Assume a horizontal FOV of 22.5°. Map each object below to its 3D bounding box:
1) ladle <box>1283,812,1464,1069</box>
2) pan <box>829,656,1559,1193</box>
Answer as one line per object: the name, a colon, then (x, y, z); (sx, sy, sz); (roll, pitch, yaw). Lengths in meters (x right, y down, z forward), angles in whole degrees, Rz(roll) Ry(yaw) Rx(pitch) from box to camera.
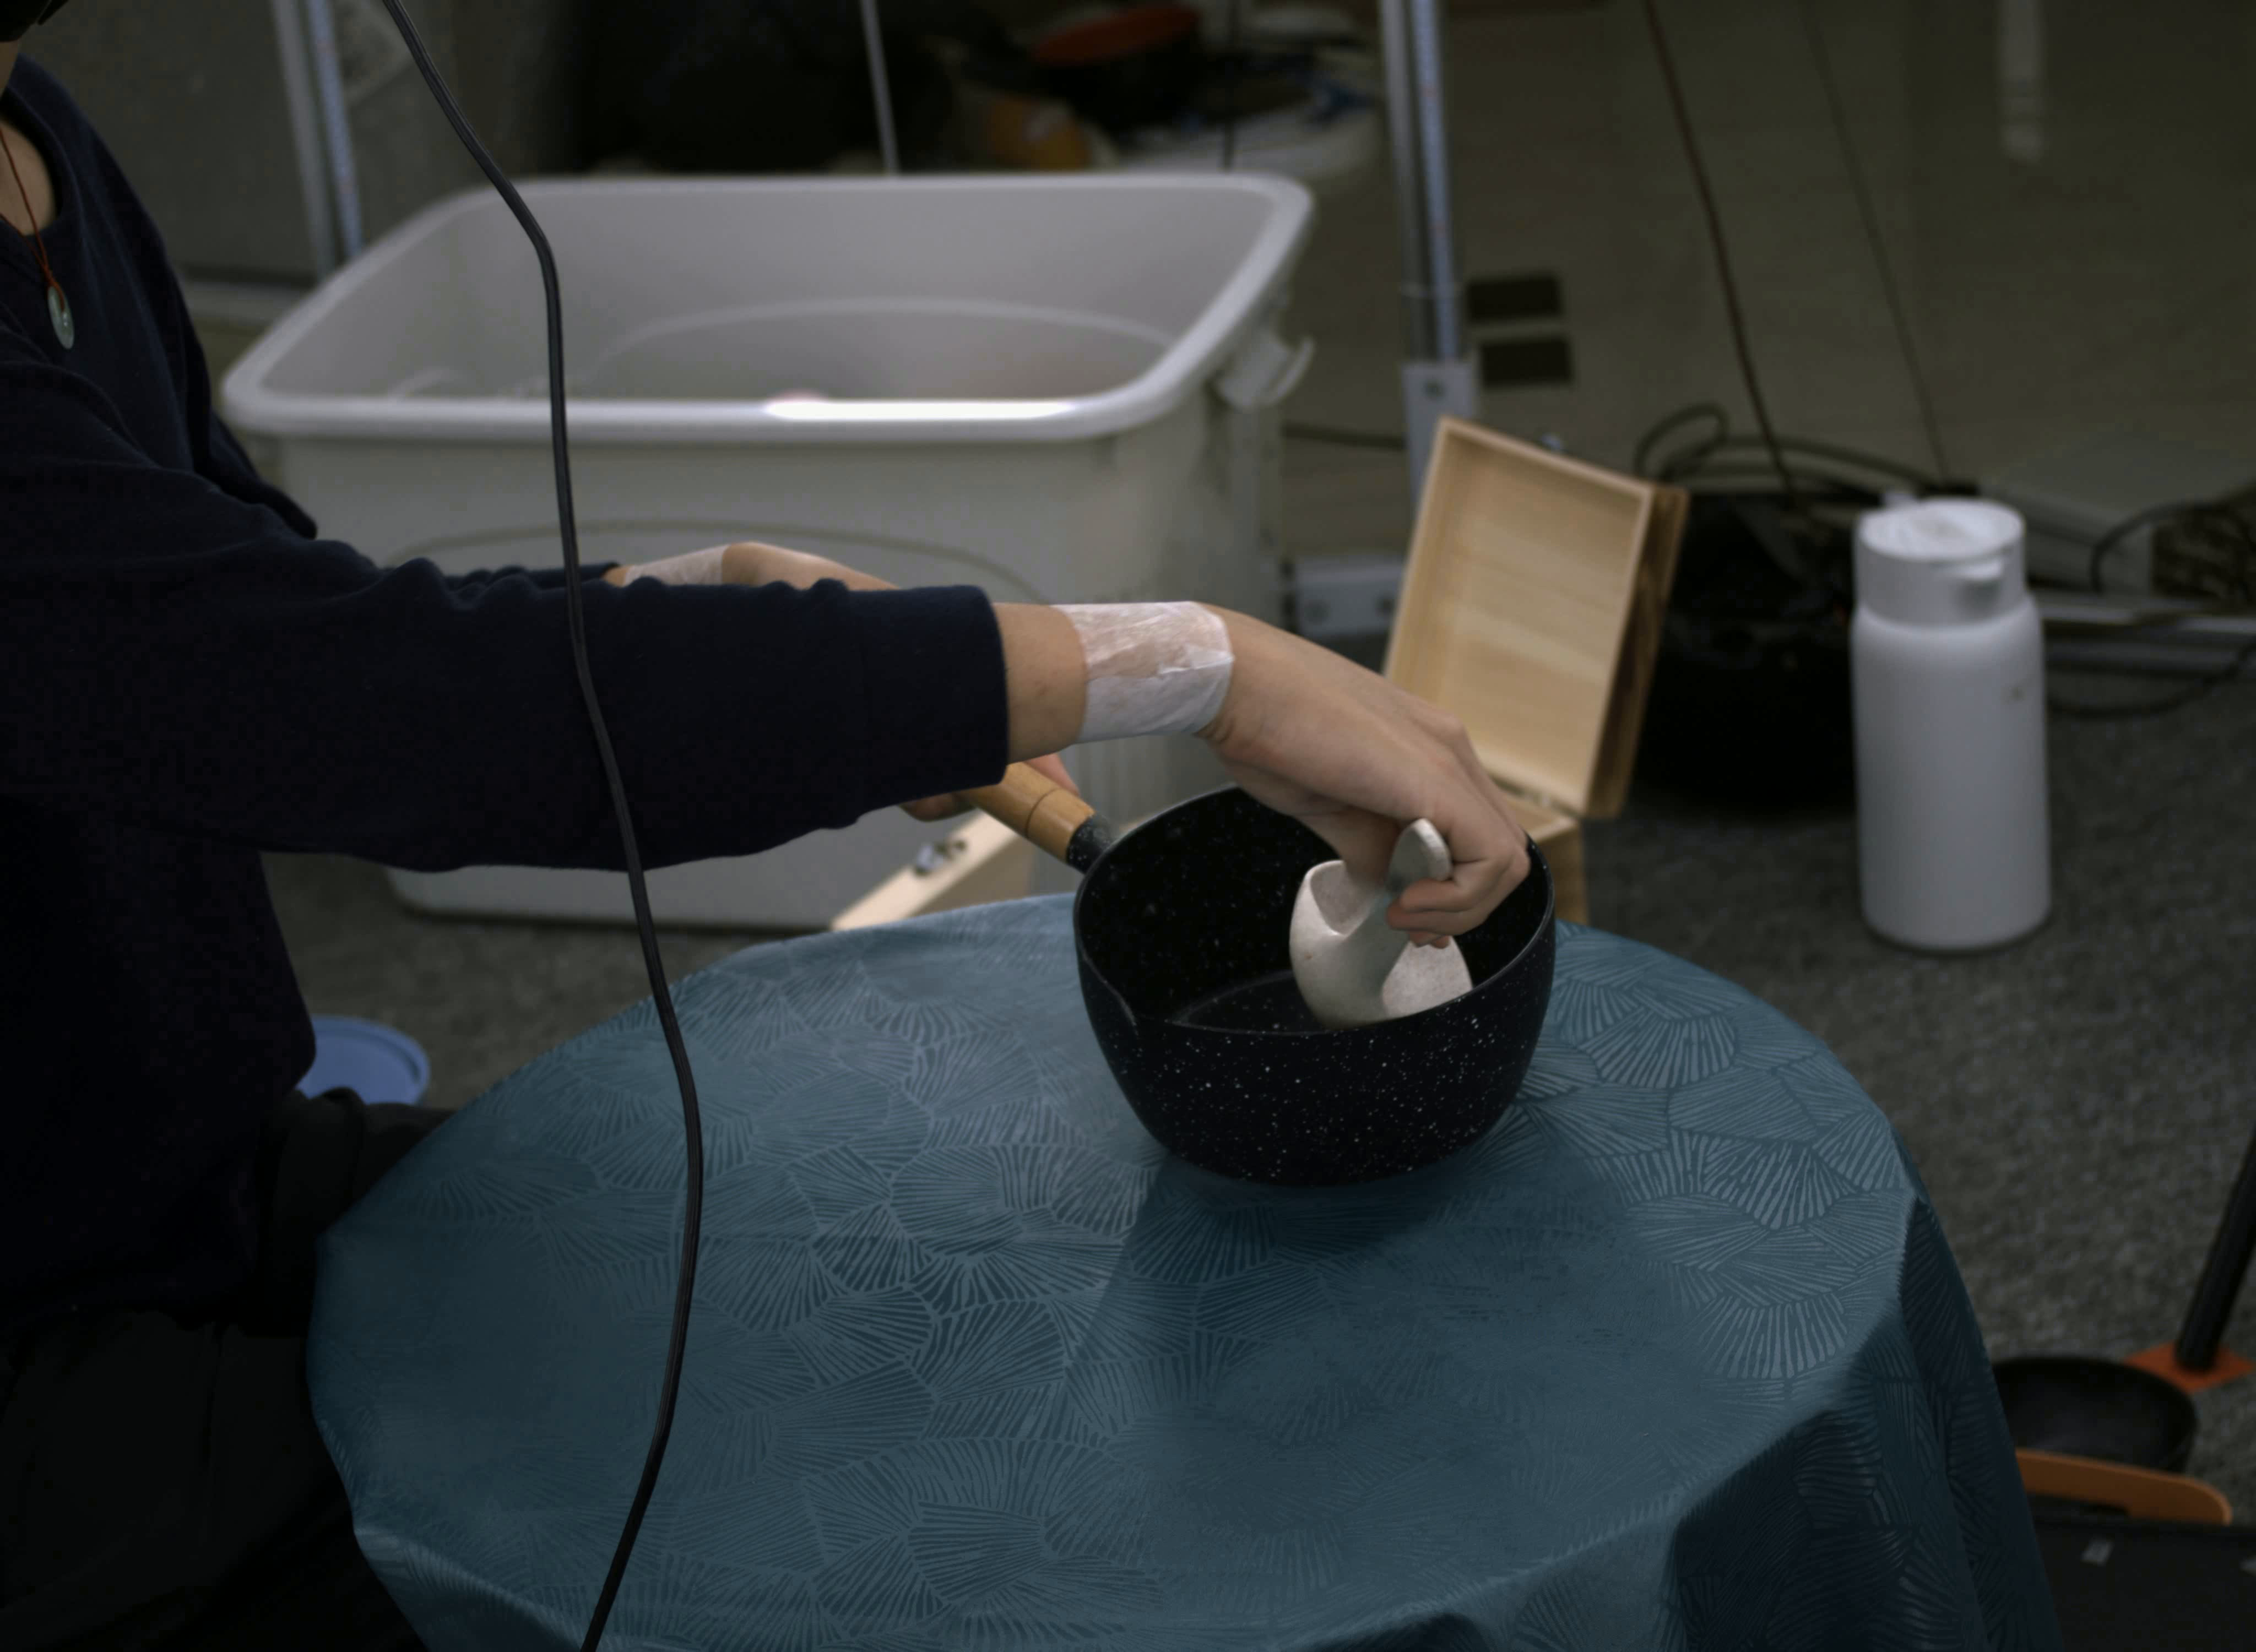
ladle: (0.106, 0.023, 2.009); (0.069, 0.089, 0.277); (-29, -10, -14)
pan: (0.013, 0.030, 2.212); (0.340, 0.110, 0.205); (22, 42, 35)
